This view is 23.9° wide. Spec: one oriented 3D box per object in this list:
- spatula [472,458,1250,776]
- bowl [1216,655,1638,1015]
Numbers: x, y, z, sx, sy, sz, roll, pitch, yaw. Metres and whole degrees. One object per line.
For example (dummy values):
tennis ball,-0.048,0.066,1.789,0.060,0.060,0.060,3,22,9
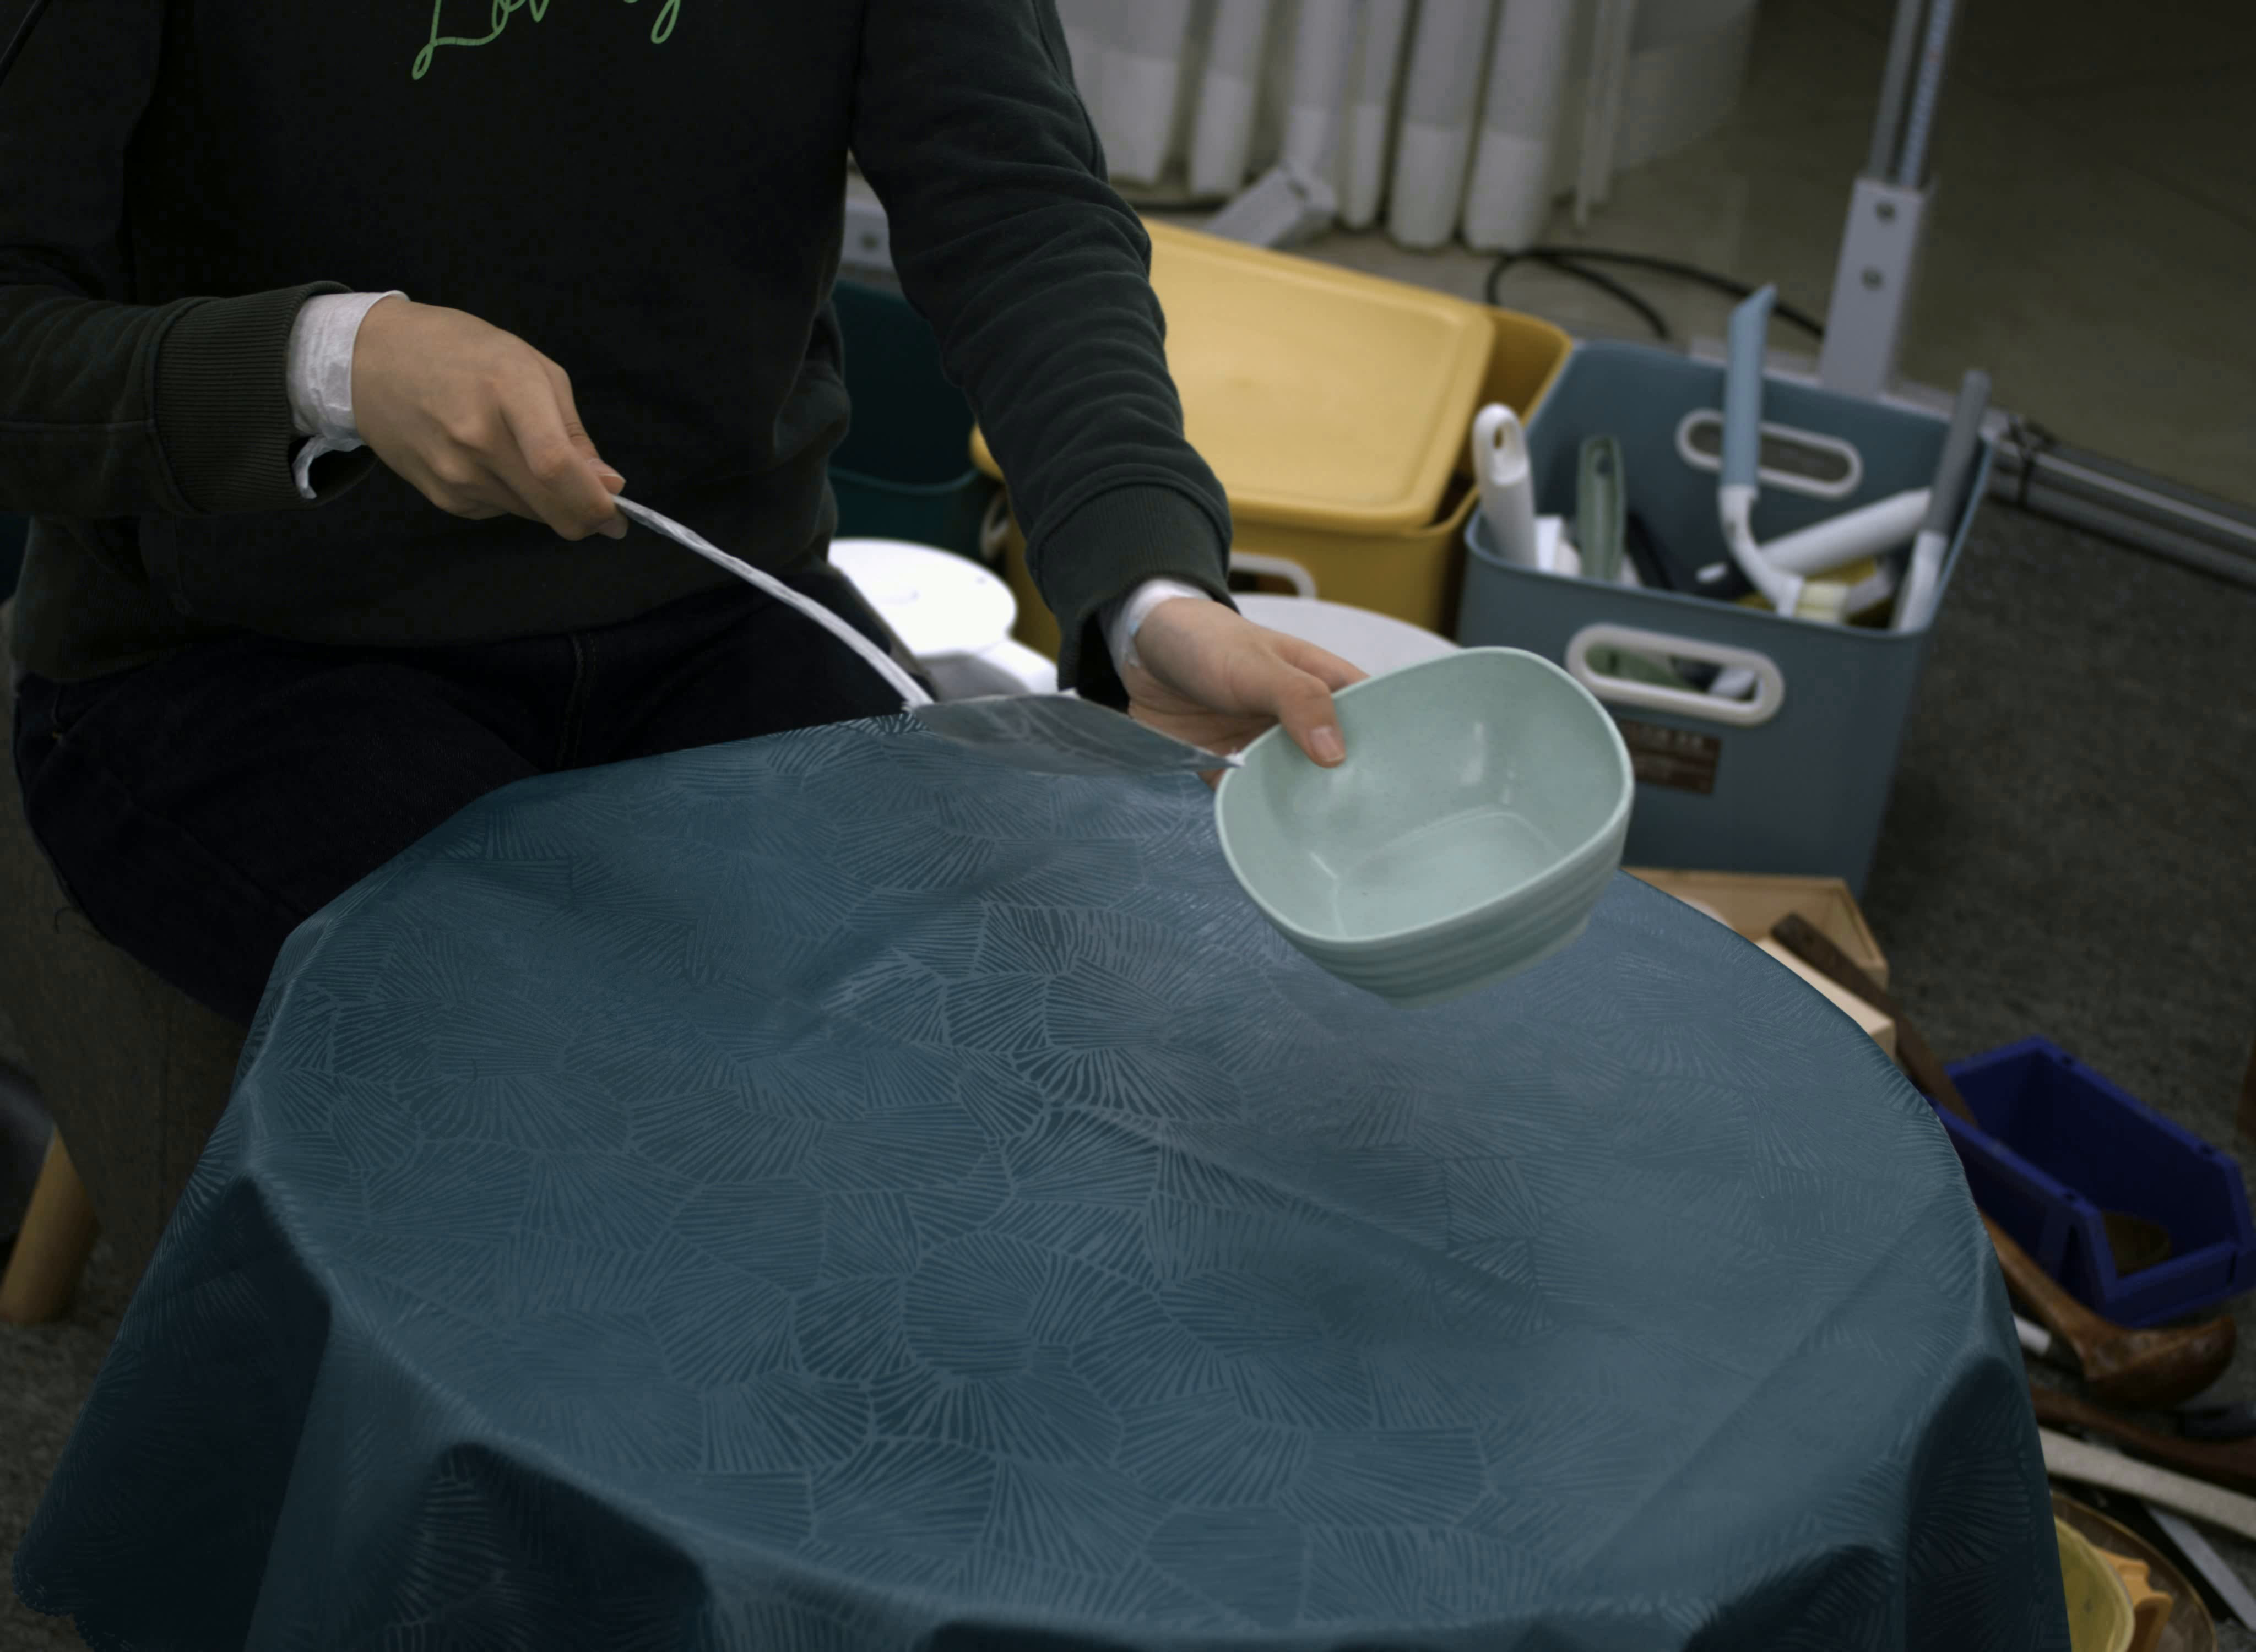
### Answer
spatula,-0.110,-0.079,1.800,0.368,0.045,0.098,30,7,40
bowl,0.106,0.011,1.811,0.151,0.058,0.152,-11,38,8
